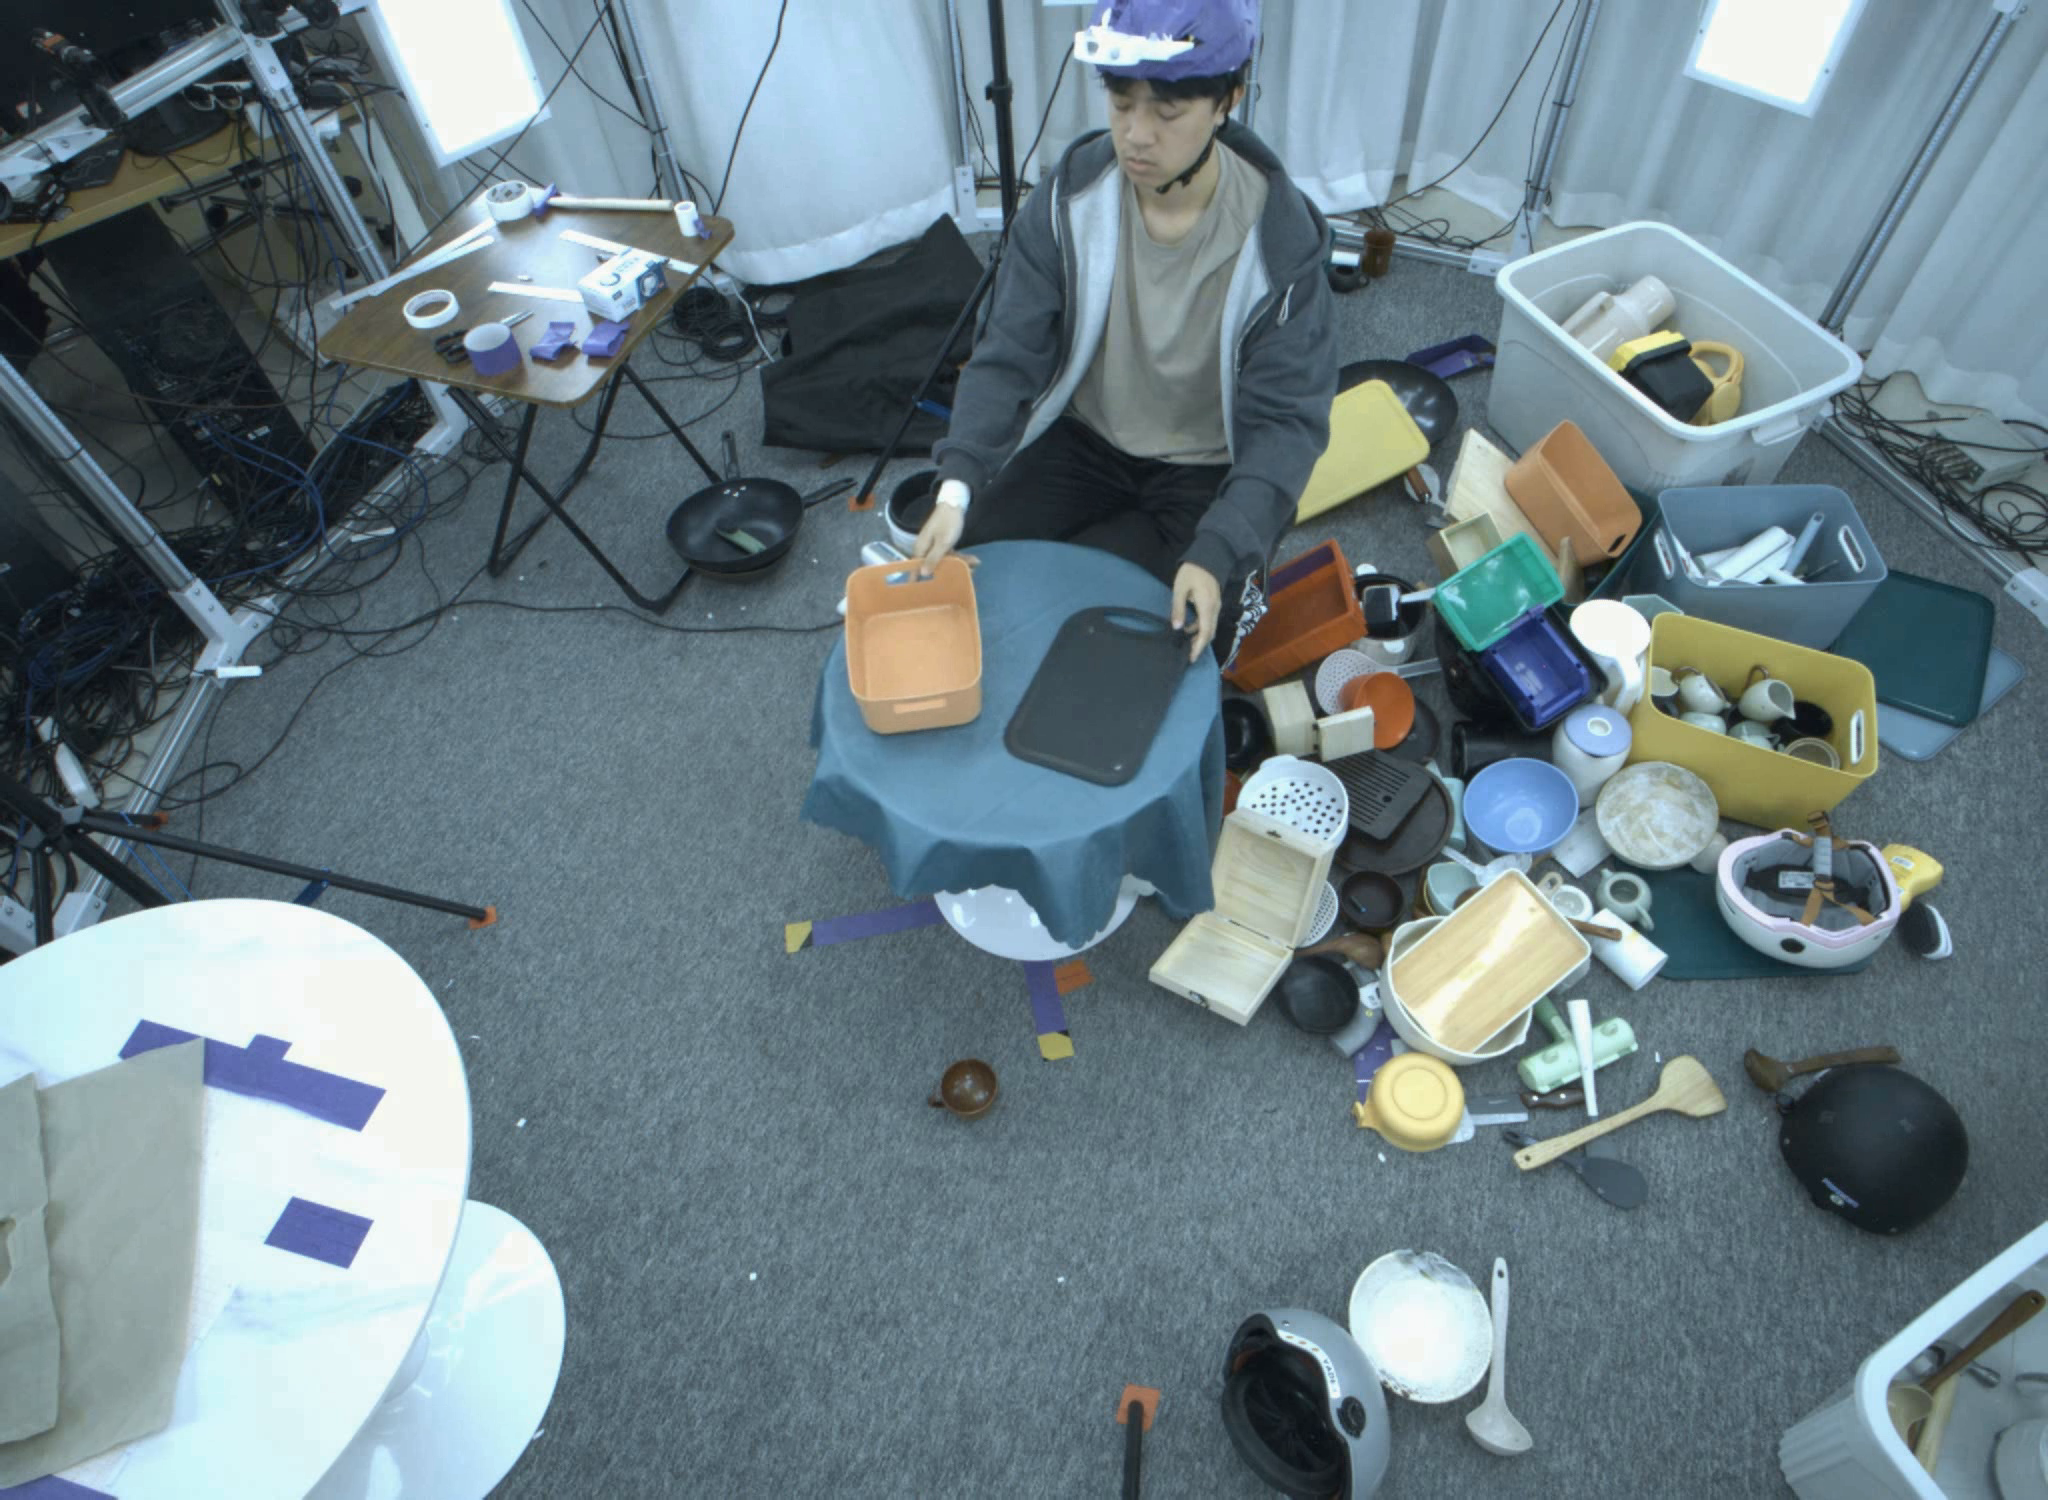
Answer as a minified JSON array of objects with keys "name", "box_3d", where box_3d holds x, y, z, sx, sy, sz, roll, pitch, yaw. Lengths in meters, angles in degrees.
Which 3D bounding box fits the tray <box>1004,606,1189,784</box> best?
[{"name":"tray","box_3d":[0.114,-0.095,1.843,0.208,0.010,0.325,17,58,16]}]

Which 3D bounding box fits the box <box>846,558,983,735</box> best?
[{"name":"box","box_3d":[-0.161,-0.154,1.840,0.200,0.104,0.269,-7,55,-2]}]
